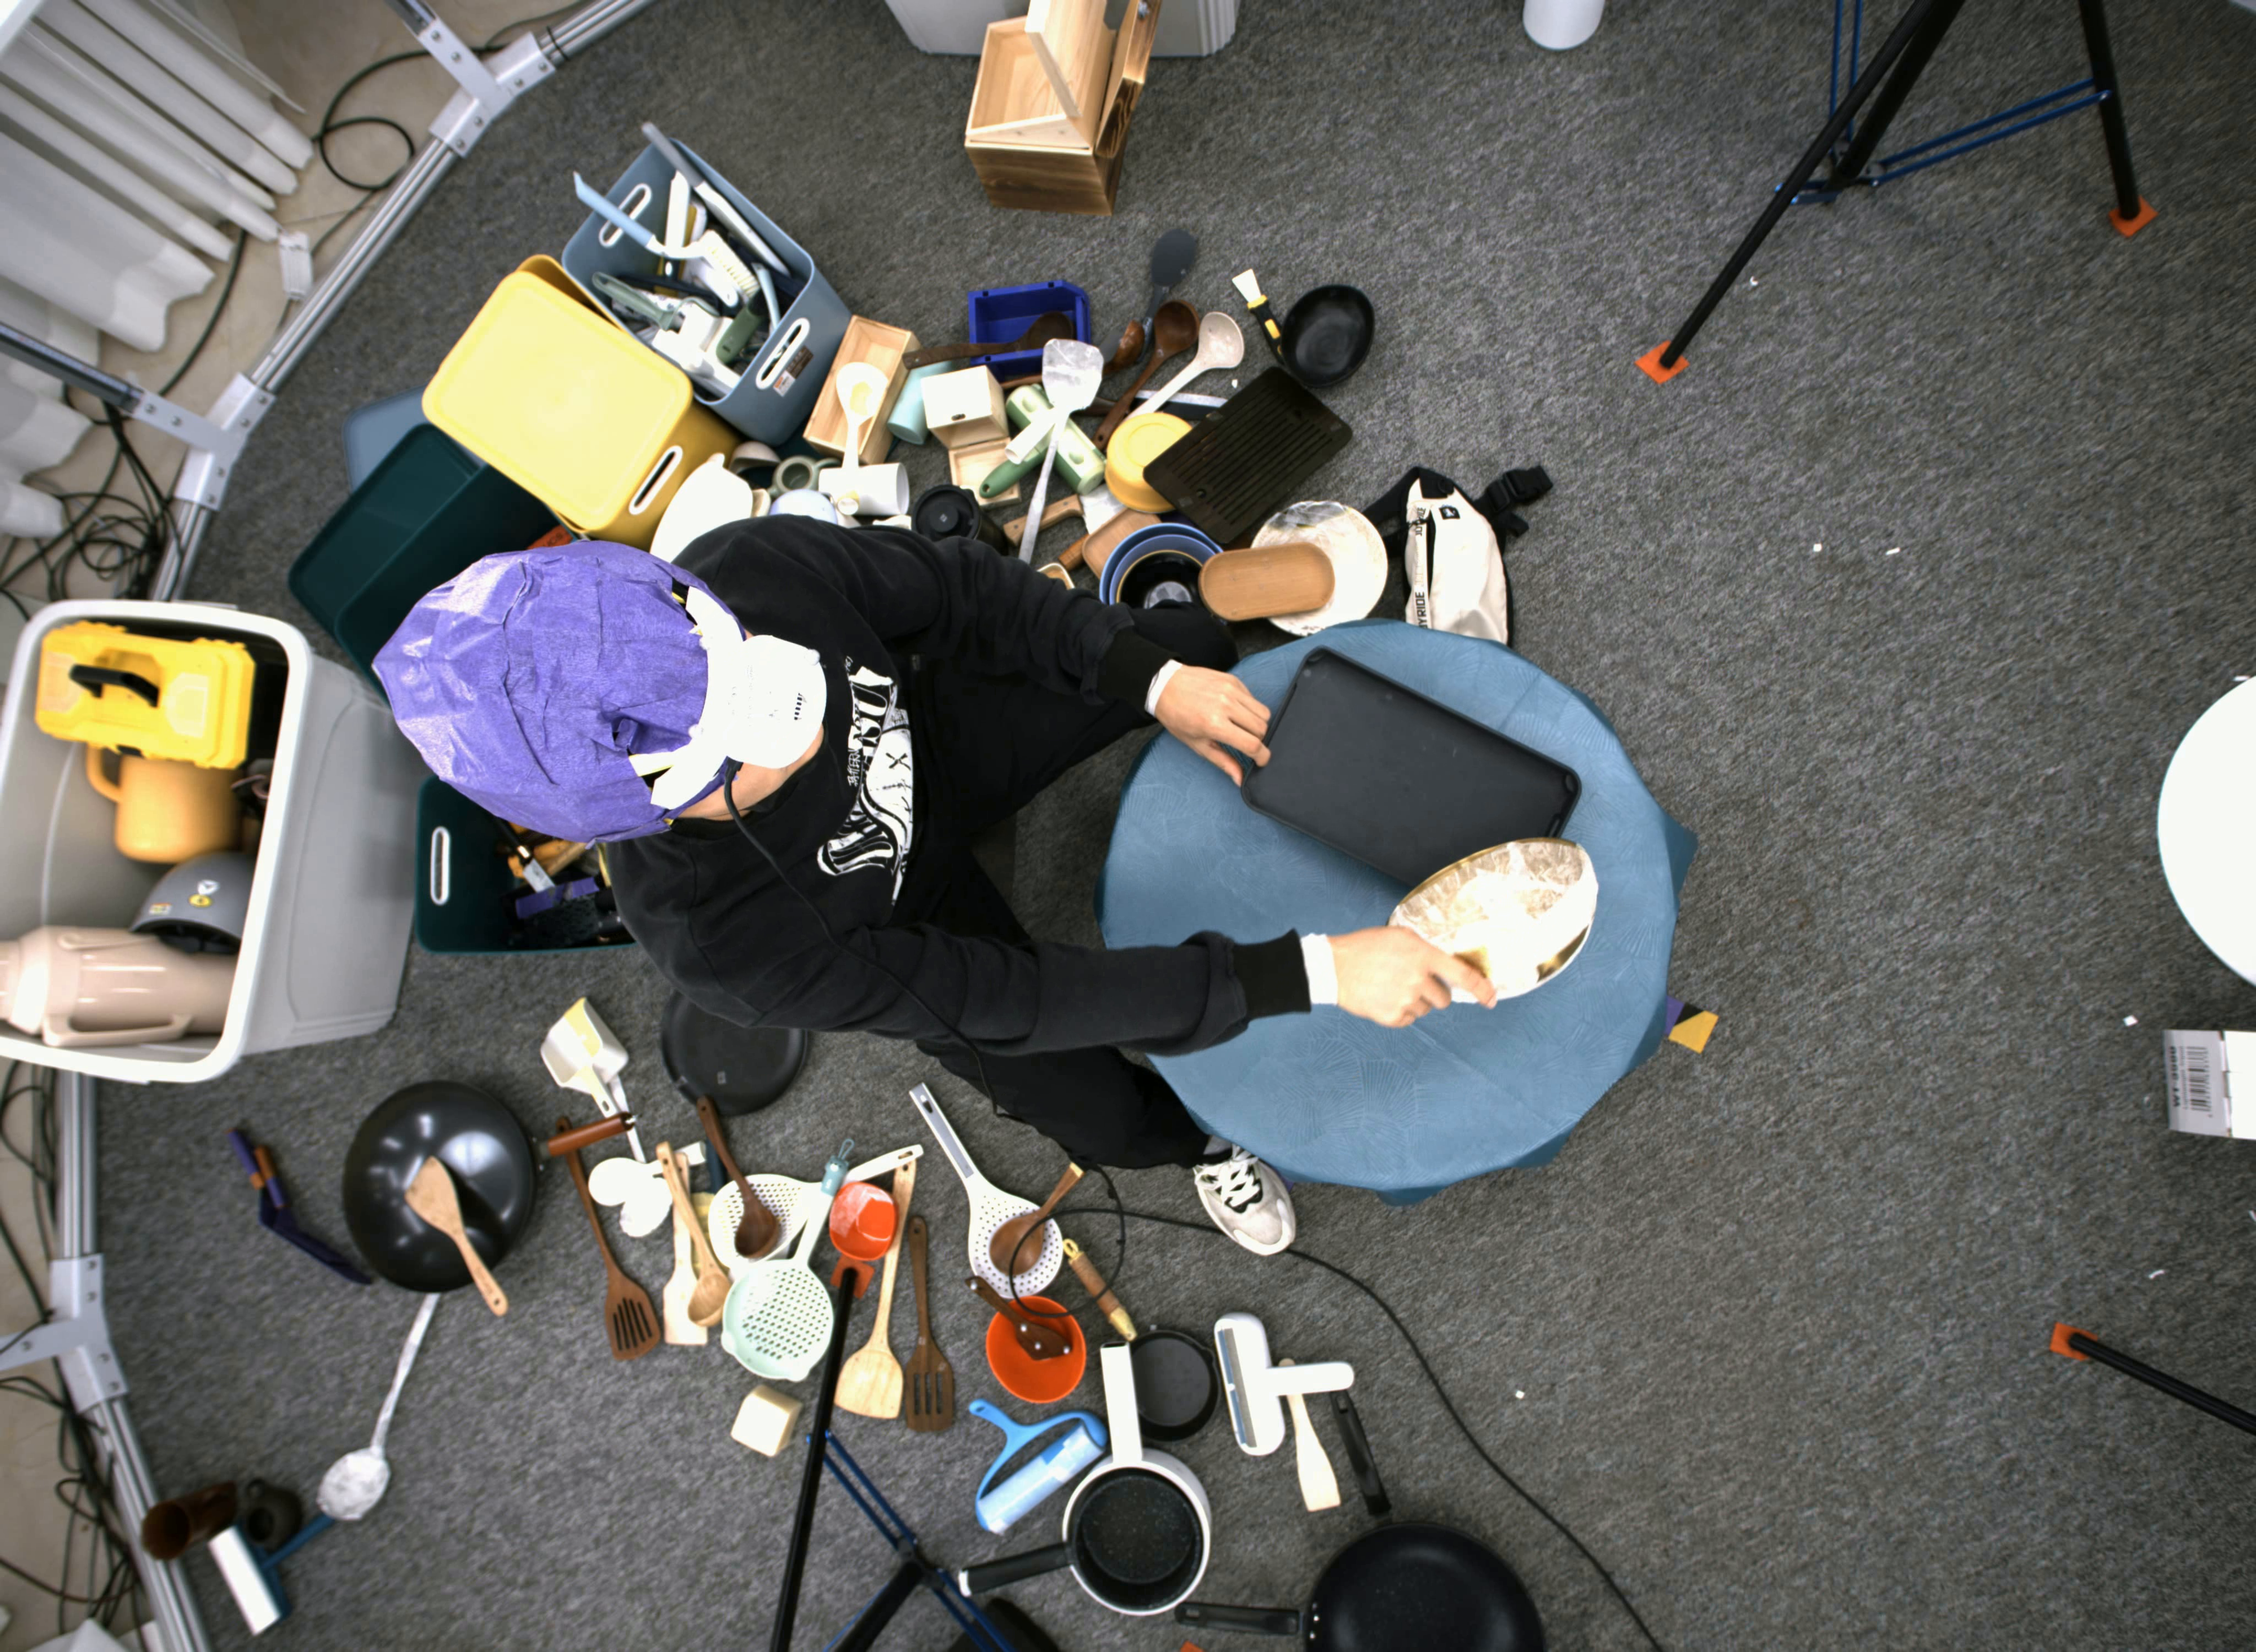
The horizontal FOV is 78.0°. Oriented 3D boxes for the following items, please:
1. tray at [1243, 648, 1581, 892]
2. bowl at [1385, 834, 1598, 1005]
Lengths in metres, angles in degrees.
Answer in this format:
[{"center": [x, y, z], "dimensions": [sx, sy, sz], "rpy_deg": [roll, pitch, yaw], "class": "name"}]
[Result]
[{"center": [0.292, -0.036, 1.422], "dimensions": [0.318, 0.037, 0.184], "rpy_deg": [28, 90, -2], "class": "tray"}, {"center": [0.349, 0.101, 1.291], "dimensions": [0.216, 0.211, 0.095], "rpy_deg": [-29, 108, 6], "class": "bowl"}]
